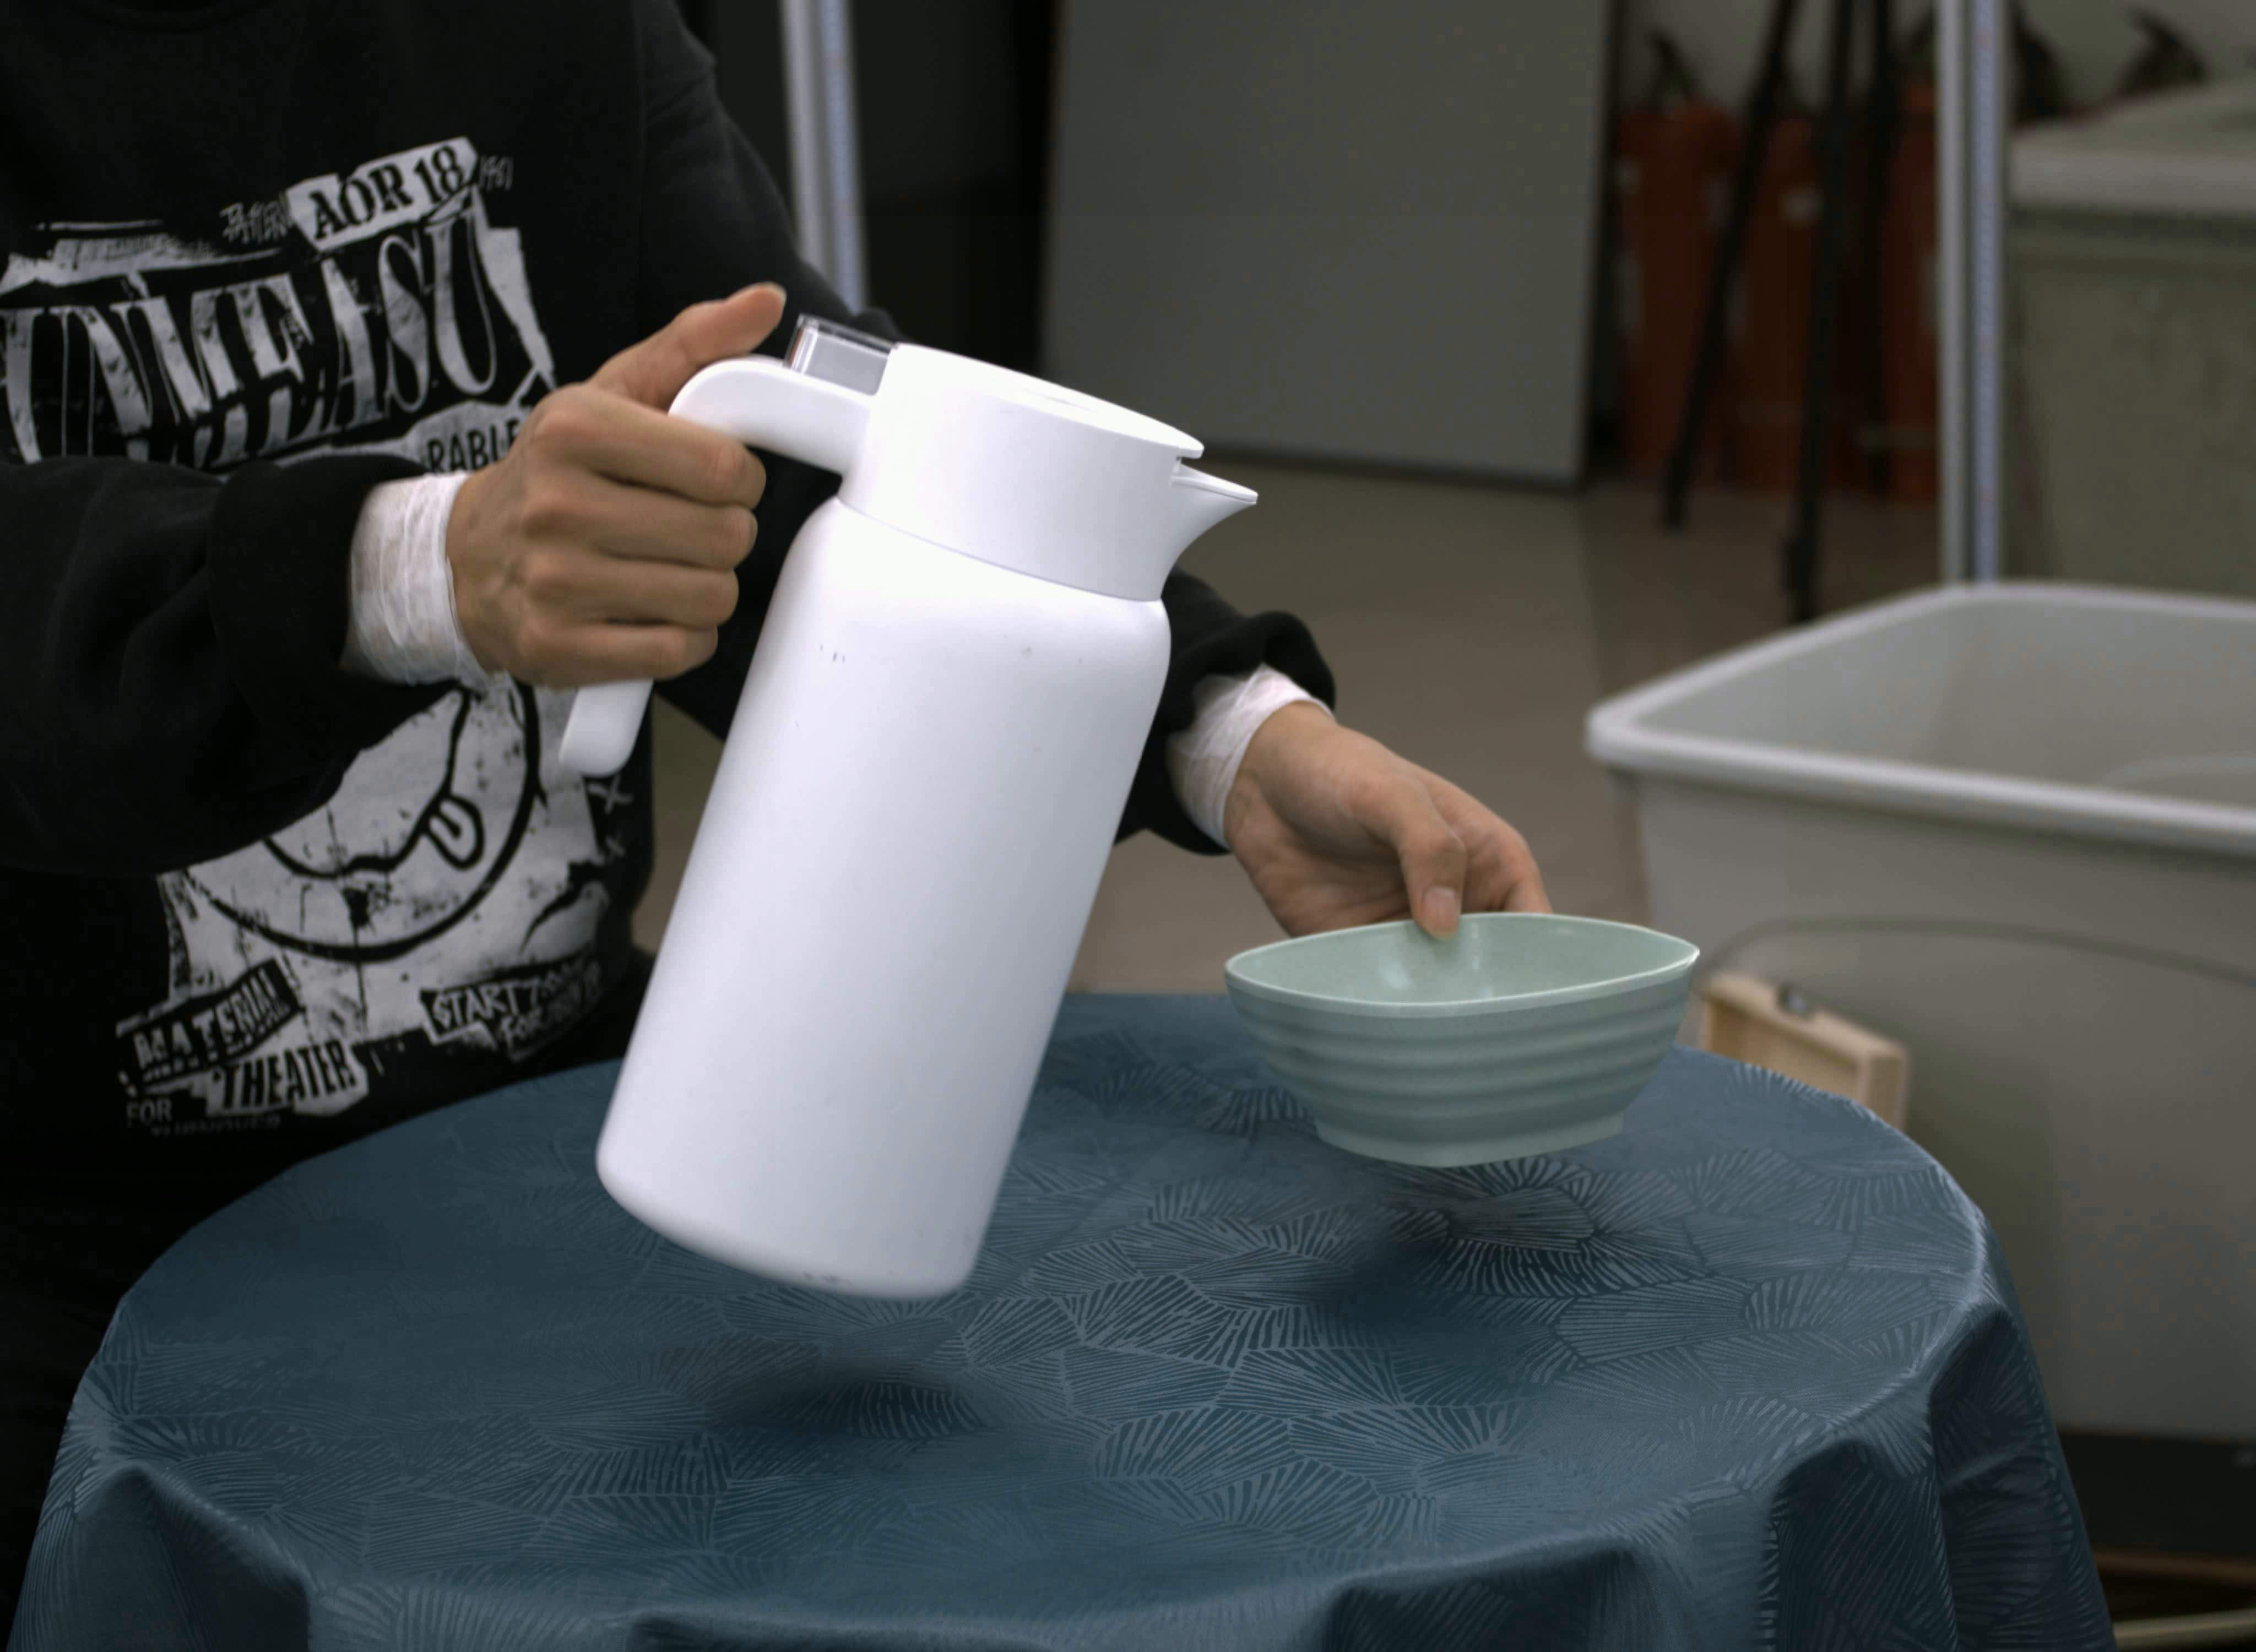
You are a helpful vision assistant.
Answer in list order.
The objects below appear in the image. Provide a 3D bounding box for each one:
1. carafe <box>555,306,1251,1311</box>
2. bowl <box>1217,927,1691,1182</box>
[{"bbox_3d":[-0.081,-0.007,1.567,0.171,0.272,0.124,16,10,-2],"label":"carafe"},{"bbox_3d":[0.104,0.073,1.683,0.149,0.059,0.151,-6,7,0],"label":"bowl"}]
